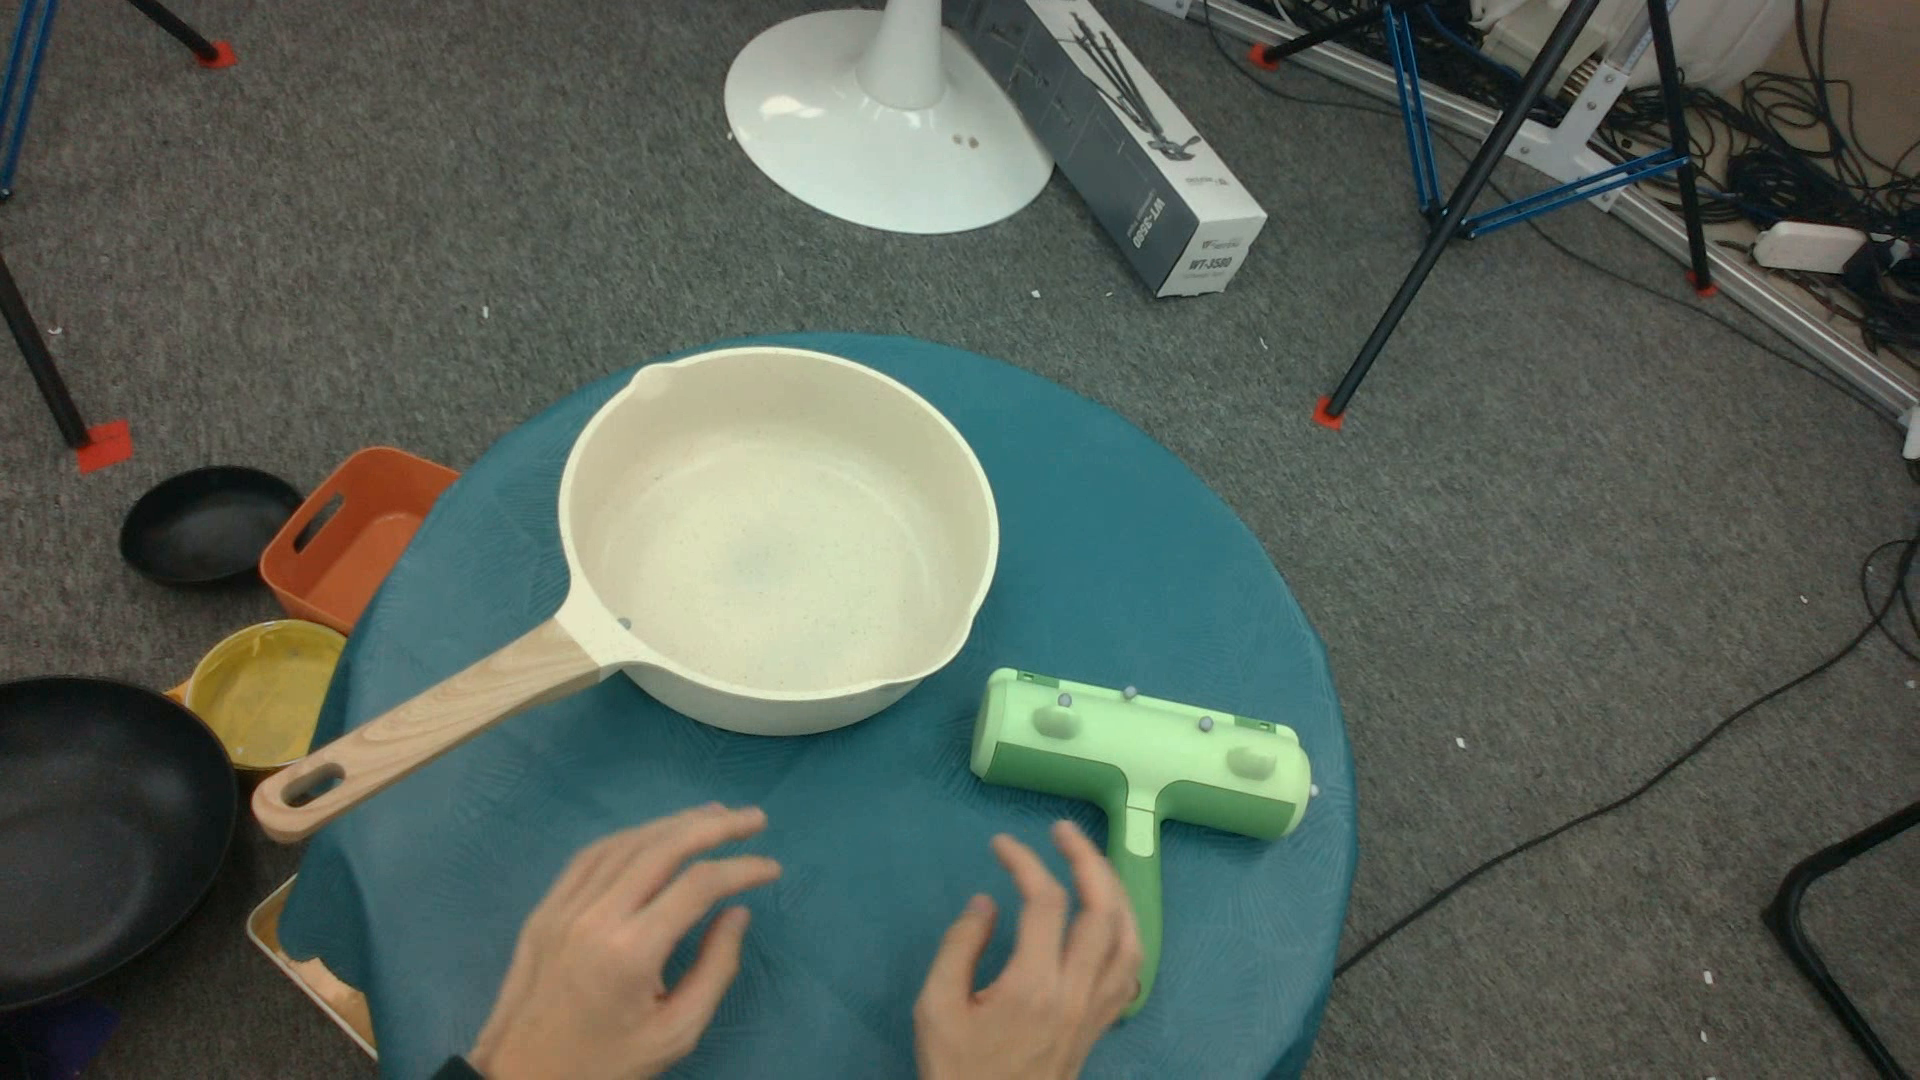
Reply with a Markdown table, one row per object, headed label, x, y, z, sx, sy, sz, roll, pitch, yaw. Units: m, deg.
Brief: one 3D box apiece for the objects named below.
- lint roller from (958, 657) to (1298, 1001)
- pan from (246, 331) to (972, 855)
| label | x | y | z | sx | sy | sz | roll | pitch | yaw |
| --- | --- | --- | --- | --- | --- | --- | --- | --- | --- |
| lint roller | 0.097 | 0.155 | 0.767 | 0.198 | 0.082 | 0.184 | 11 | 47 | -7 |
| pan | -0.182 | 0.040 | 0.765 | 0.263 | 0.101 | 0.437 | 42 | 55 | 15 |
